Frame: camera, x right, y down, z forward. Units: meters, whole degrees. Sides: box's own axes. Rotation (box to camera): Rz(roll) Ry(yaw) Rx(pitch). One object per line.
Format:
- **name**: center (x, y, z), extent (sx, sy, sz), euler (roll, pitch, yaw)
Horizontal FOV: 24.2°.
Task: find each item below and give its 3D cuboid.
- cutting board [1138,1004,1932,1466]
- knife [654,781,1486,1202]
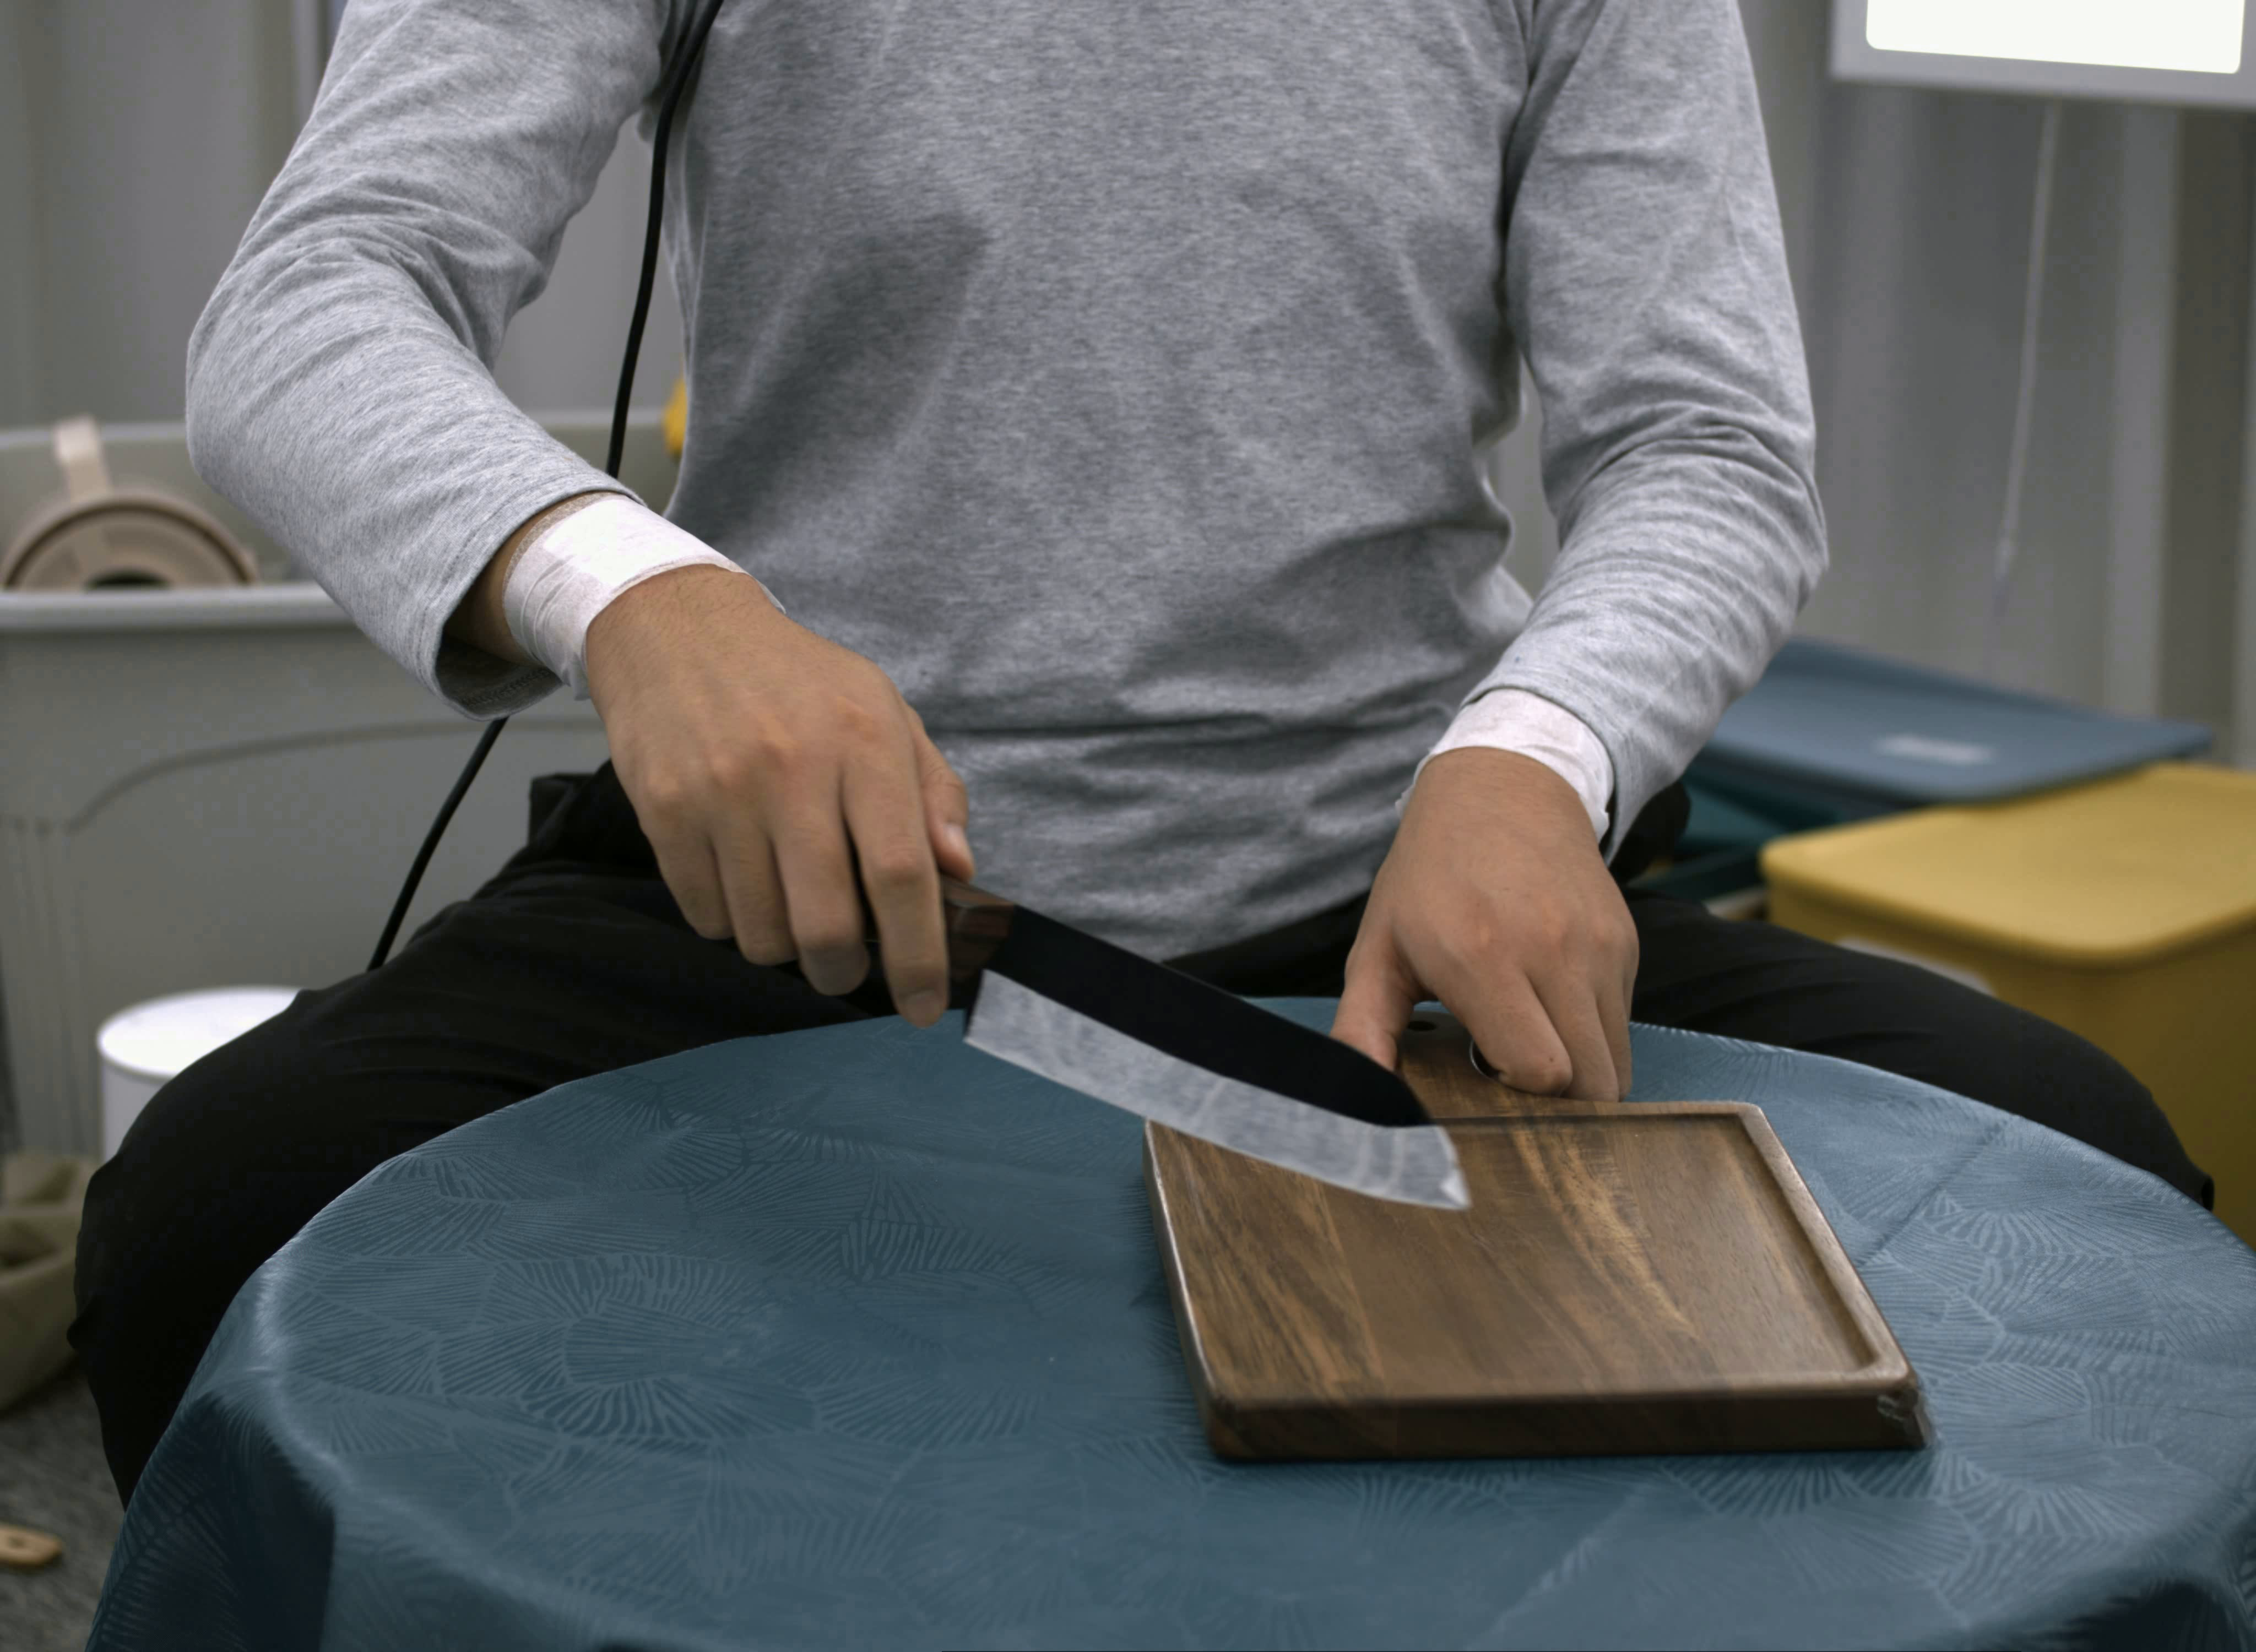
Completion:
- **cutting board**: center (0.107, 0.115, 1.581), extent (0.201, 0.023, 0.350), euler (0, 15, -4)
- **knife**: center (-0.020, 0.046, 1.500), extent (0.286, 0.050, 0.020), euler (24, 17, 25)
